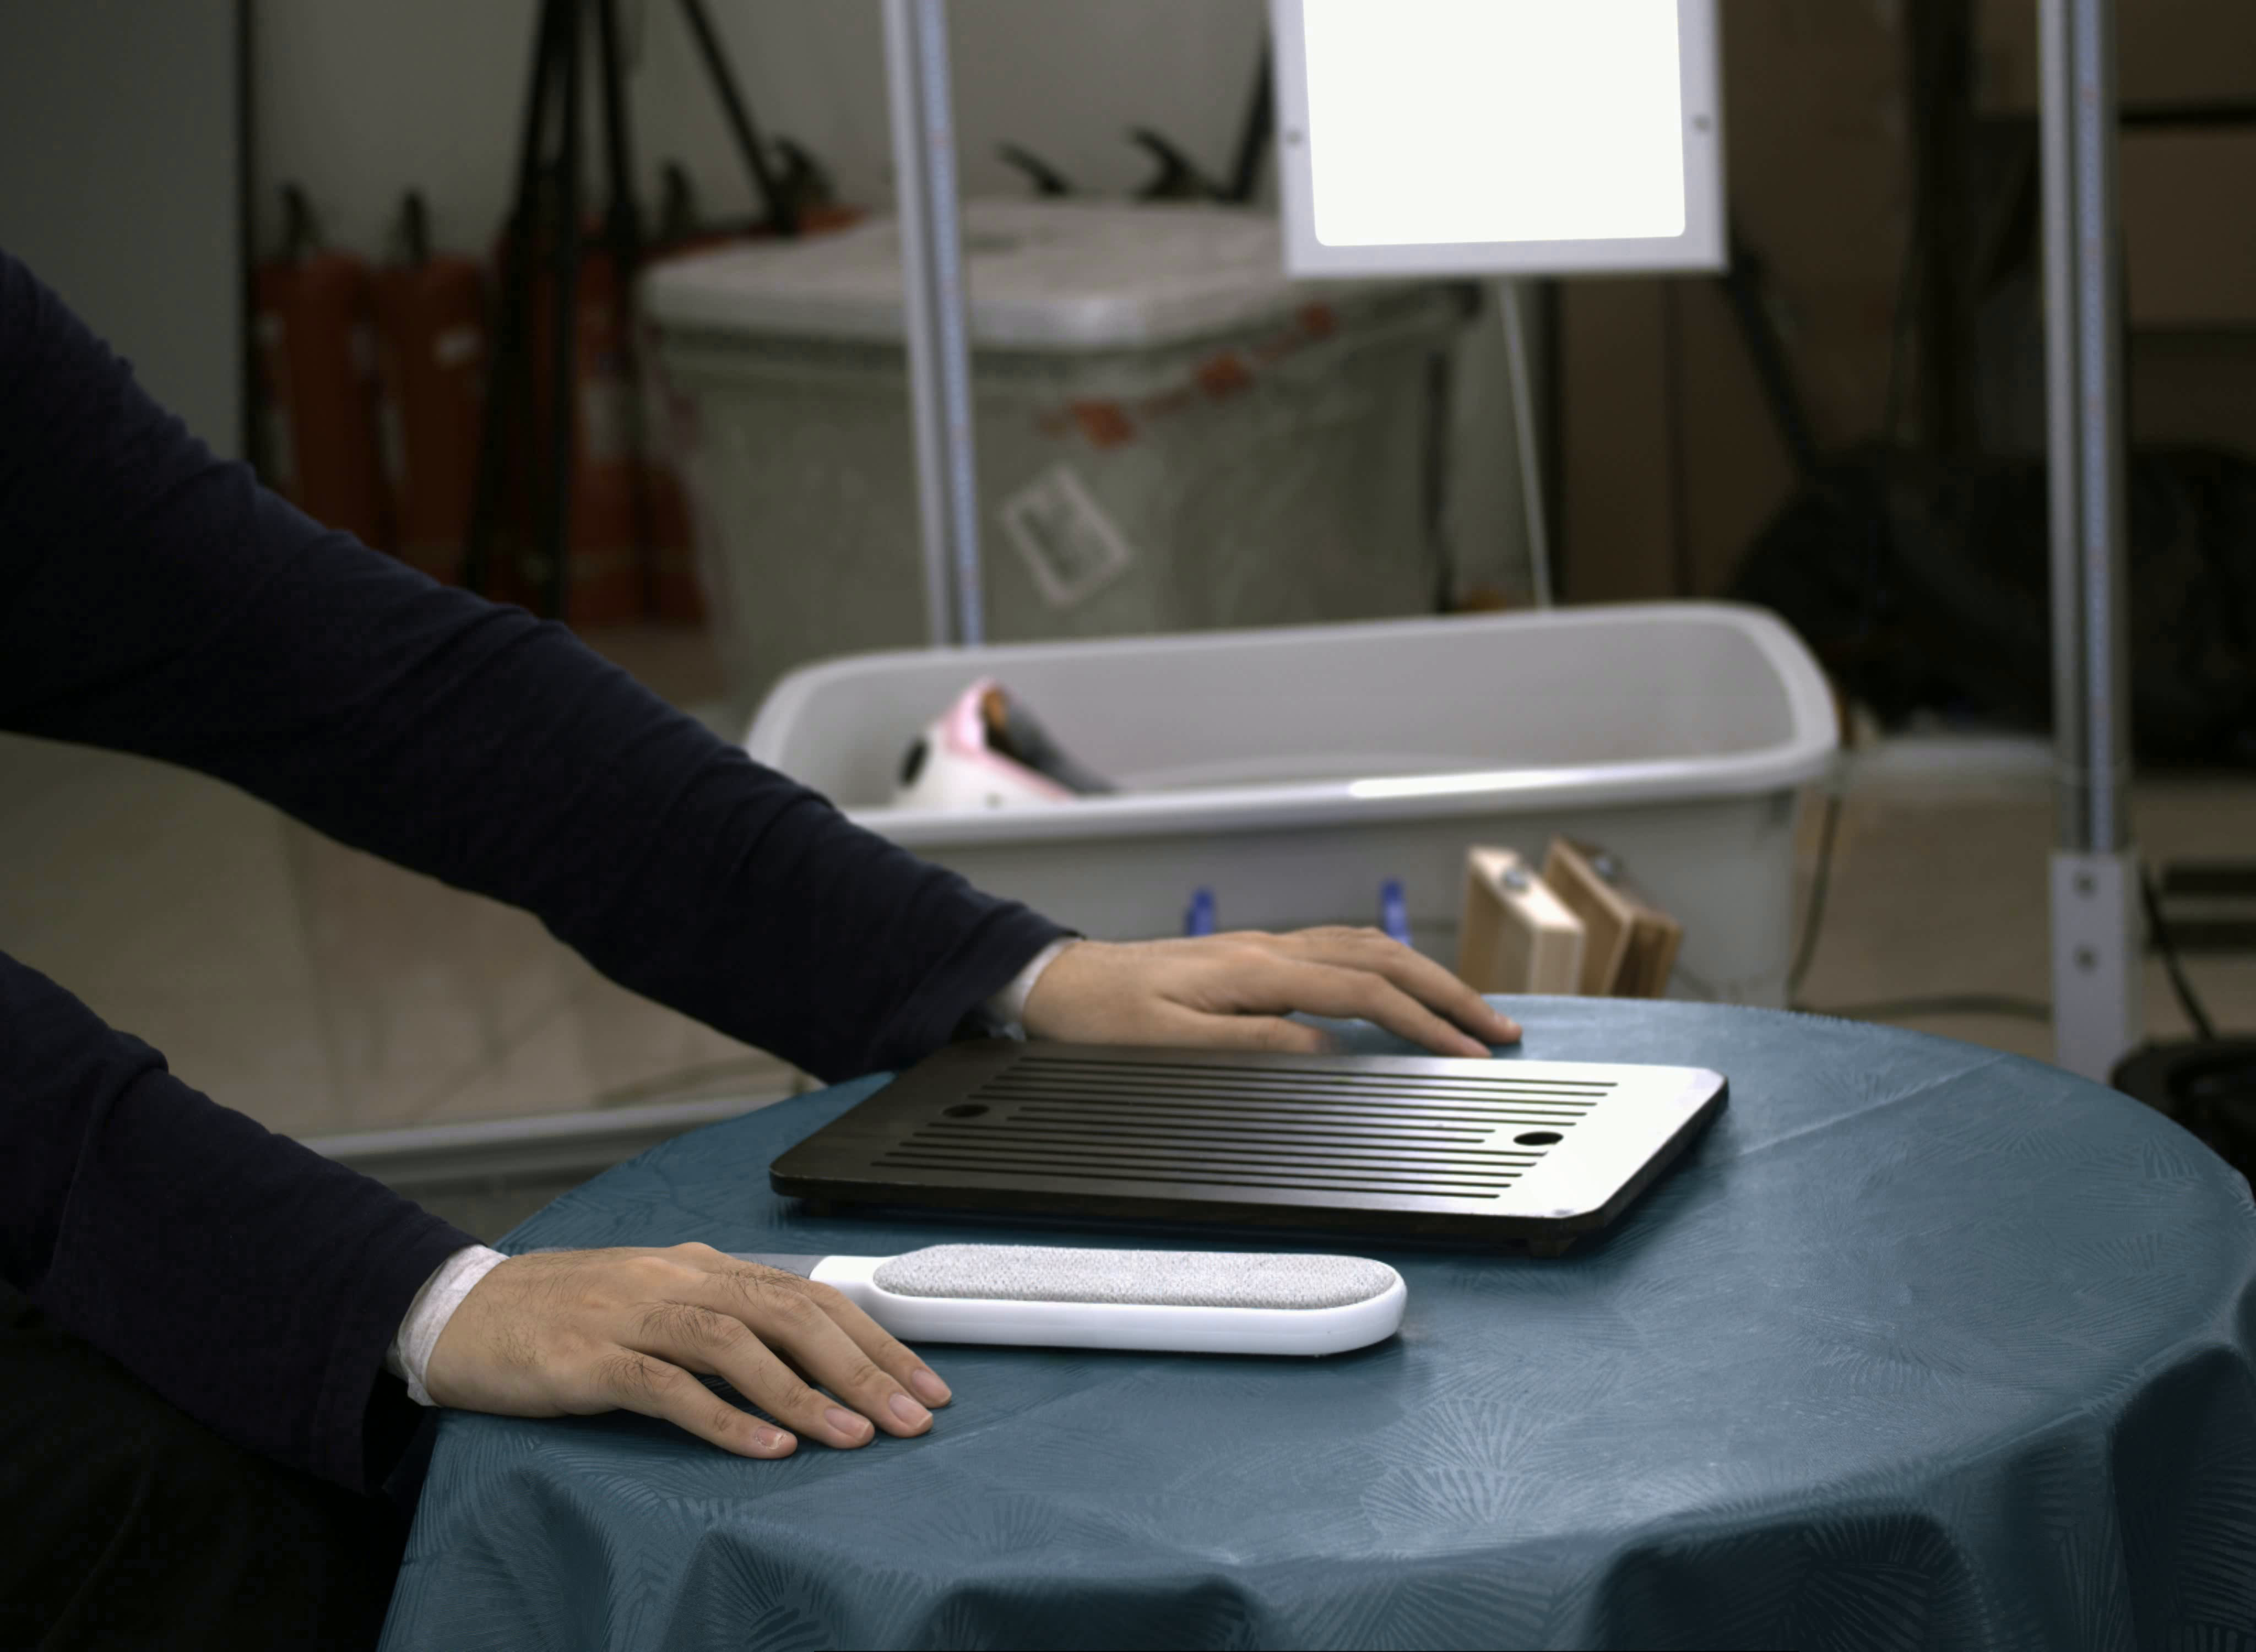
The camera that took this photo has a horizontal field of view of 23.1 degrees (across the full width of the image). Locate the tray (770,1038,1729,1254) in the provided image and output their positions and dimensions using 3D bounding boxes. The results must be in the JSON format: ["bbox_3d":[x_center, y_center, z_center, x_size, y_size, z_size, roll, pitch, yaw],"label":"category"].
[{"bbox_3d":[0.043,0.110,1.919,0.311,0.019,0.167,1,15,25],"label":"tray"}]

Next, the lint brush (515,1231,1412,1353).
[{"bbox_3d":[-0.058,0.148,1.782,0.313,0.021,0.059,0,20,22],"label":"lint brush"}]
